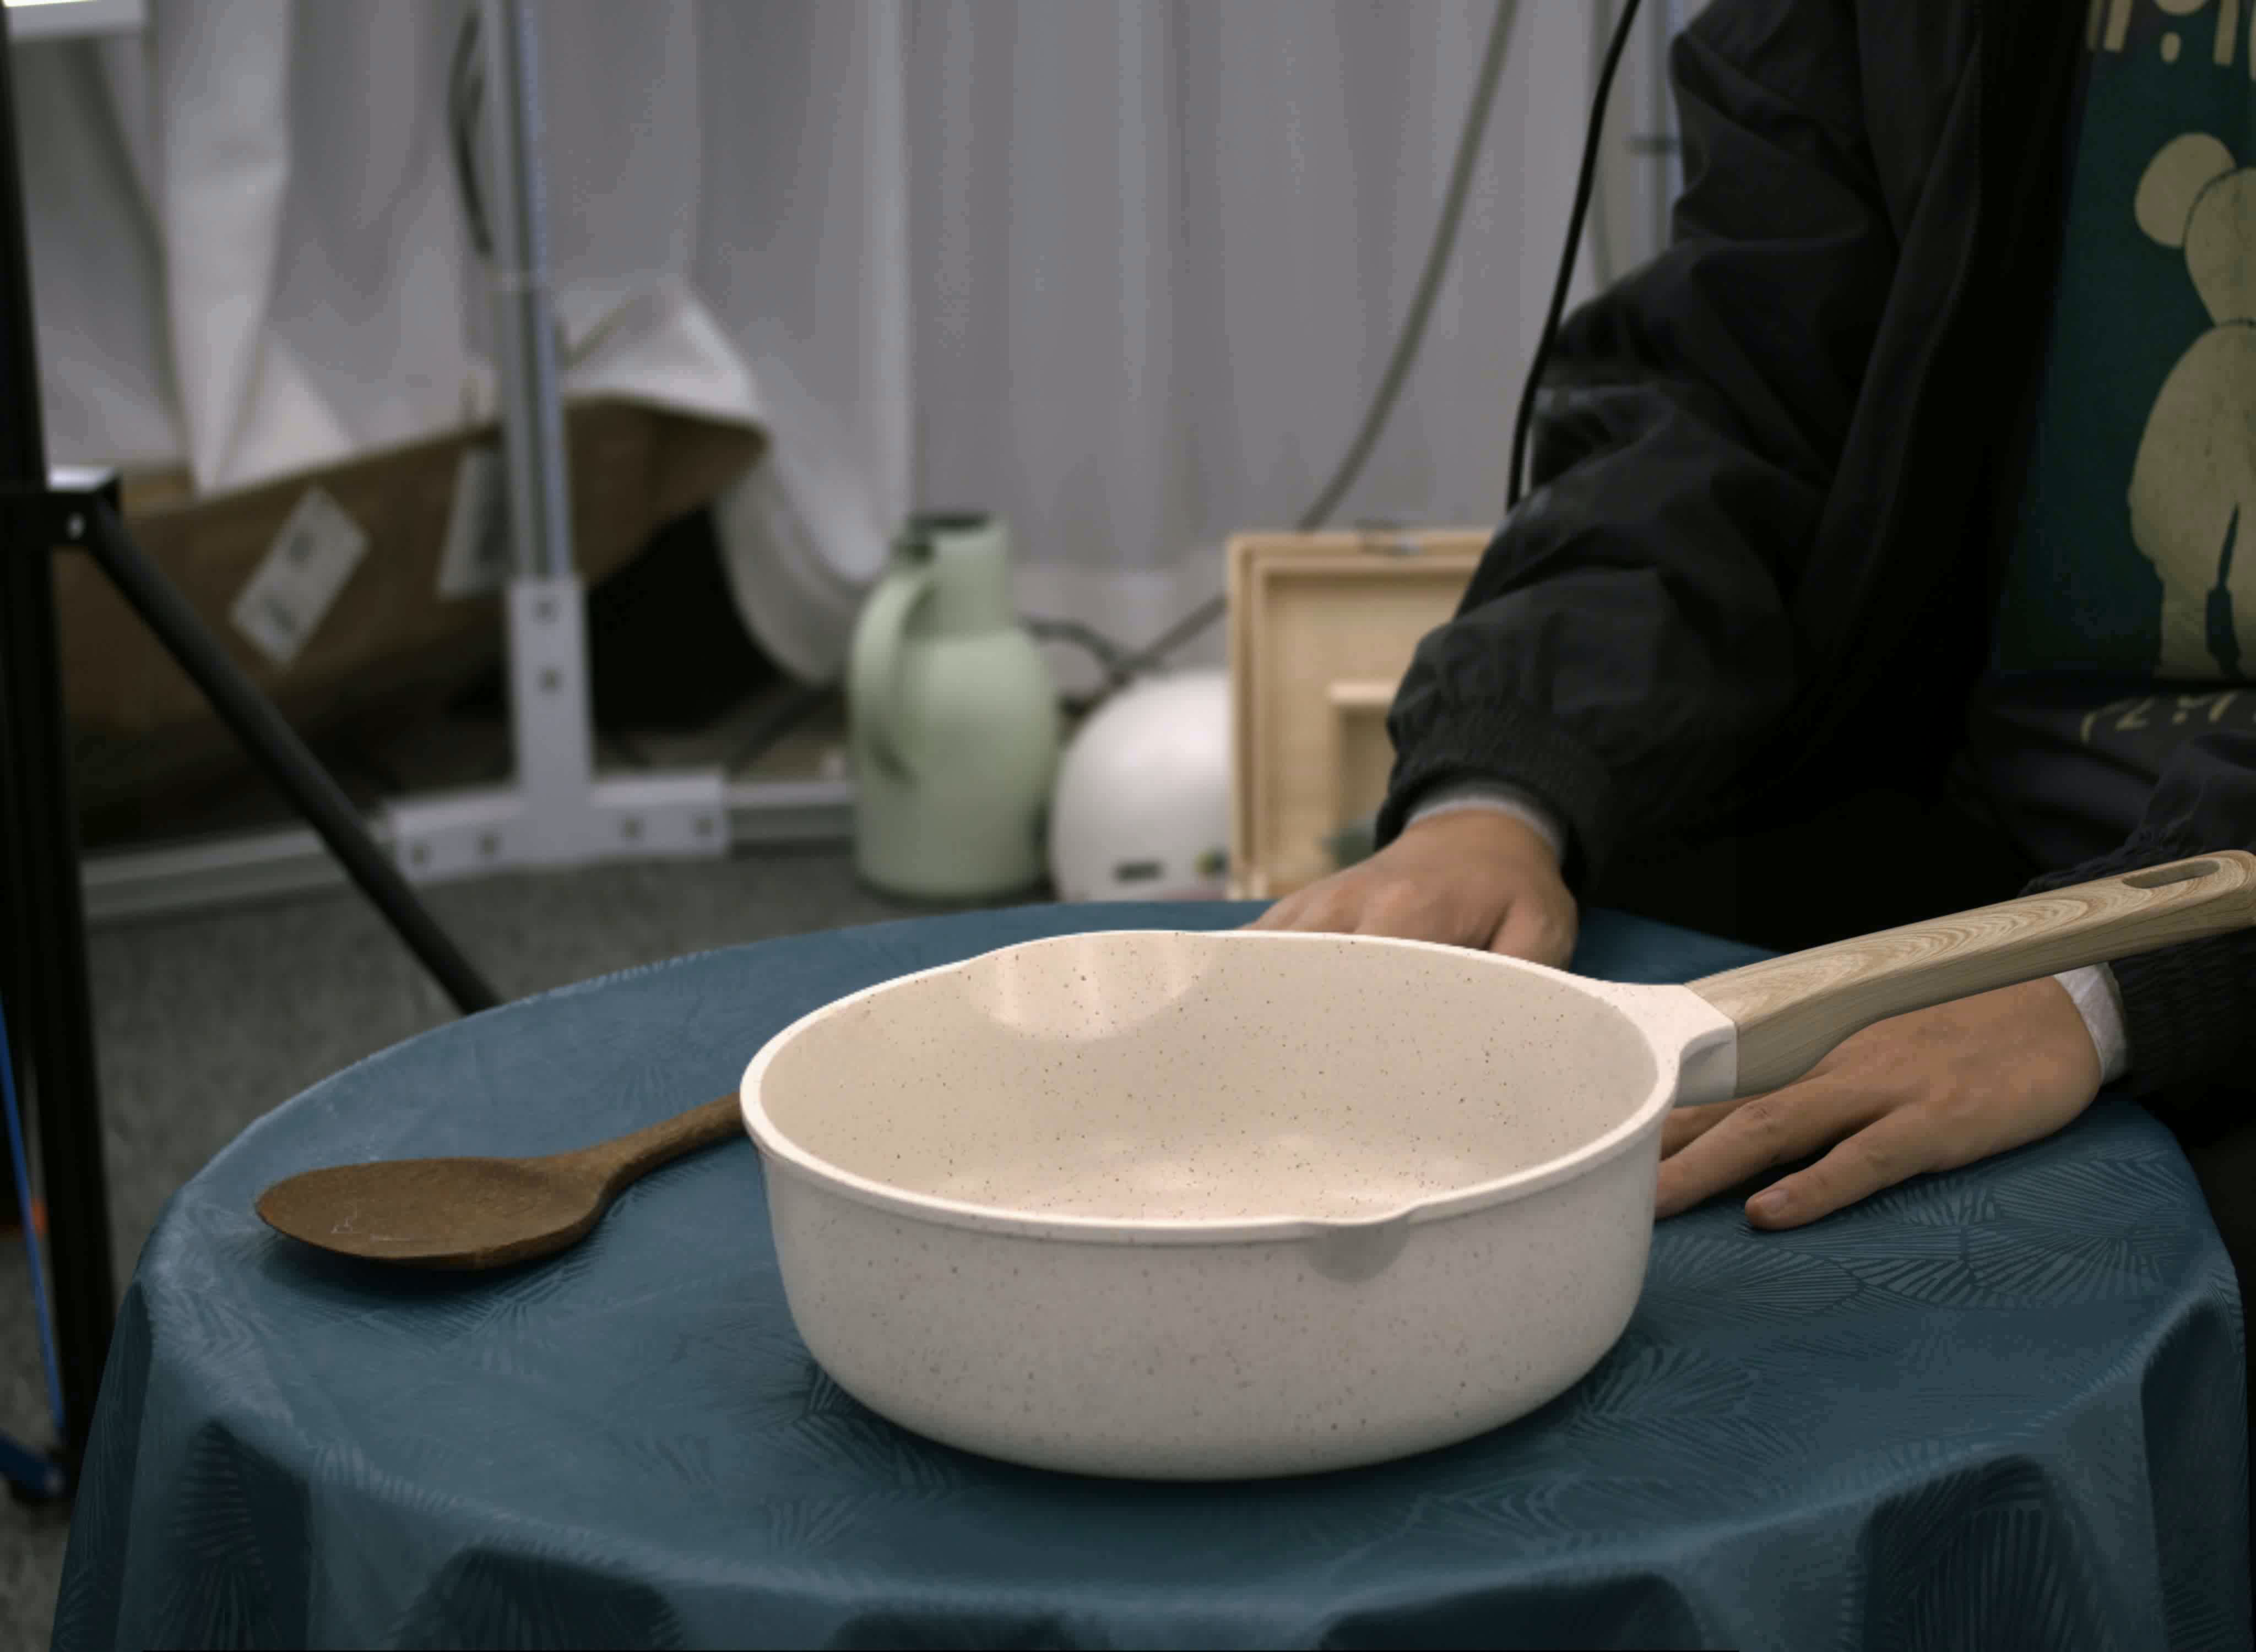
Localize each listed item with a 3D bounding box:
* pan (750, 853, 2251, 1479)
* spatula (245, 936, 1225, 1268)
[{"bbox_3d":[0.113,0.084,1.438,0.428,0.102,0.267,-7,15,-14],"label":"pan"},{"bbox_3d":[-0.102,0.080,1.647,0.098,0.016,0.377,13,22,43],"label":"spatula"}]
